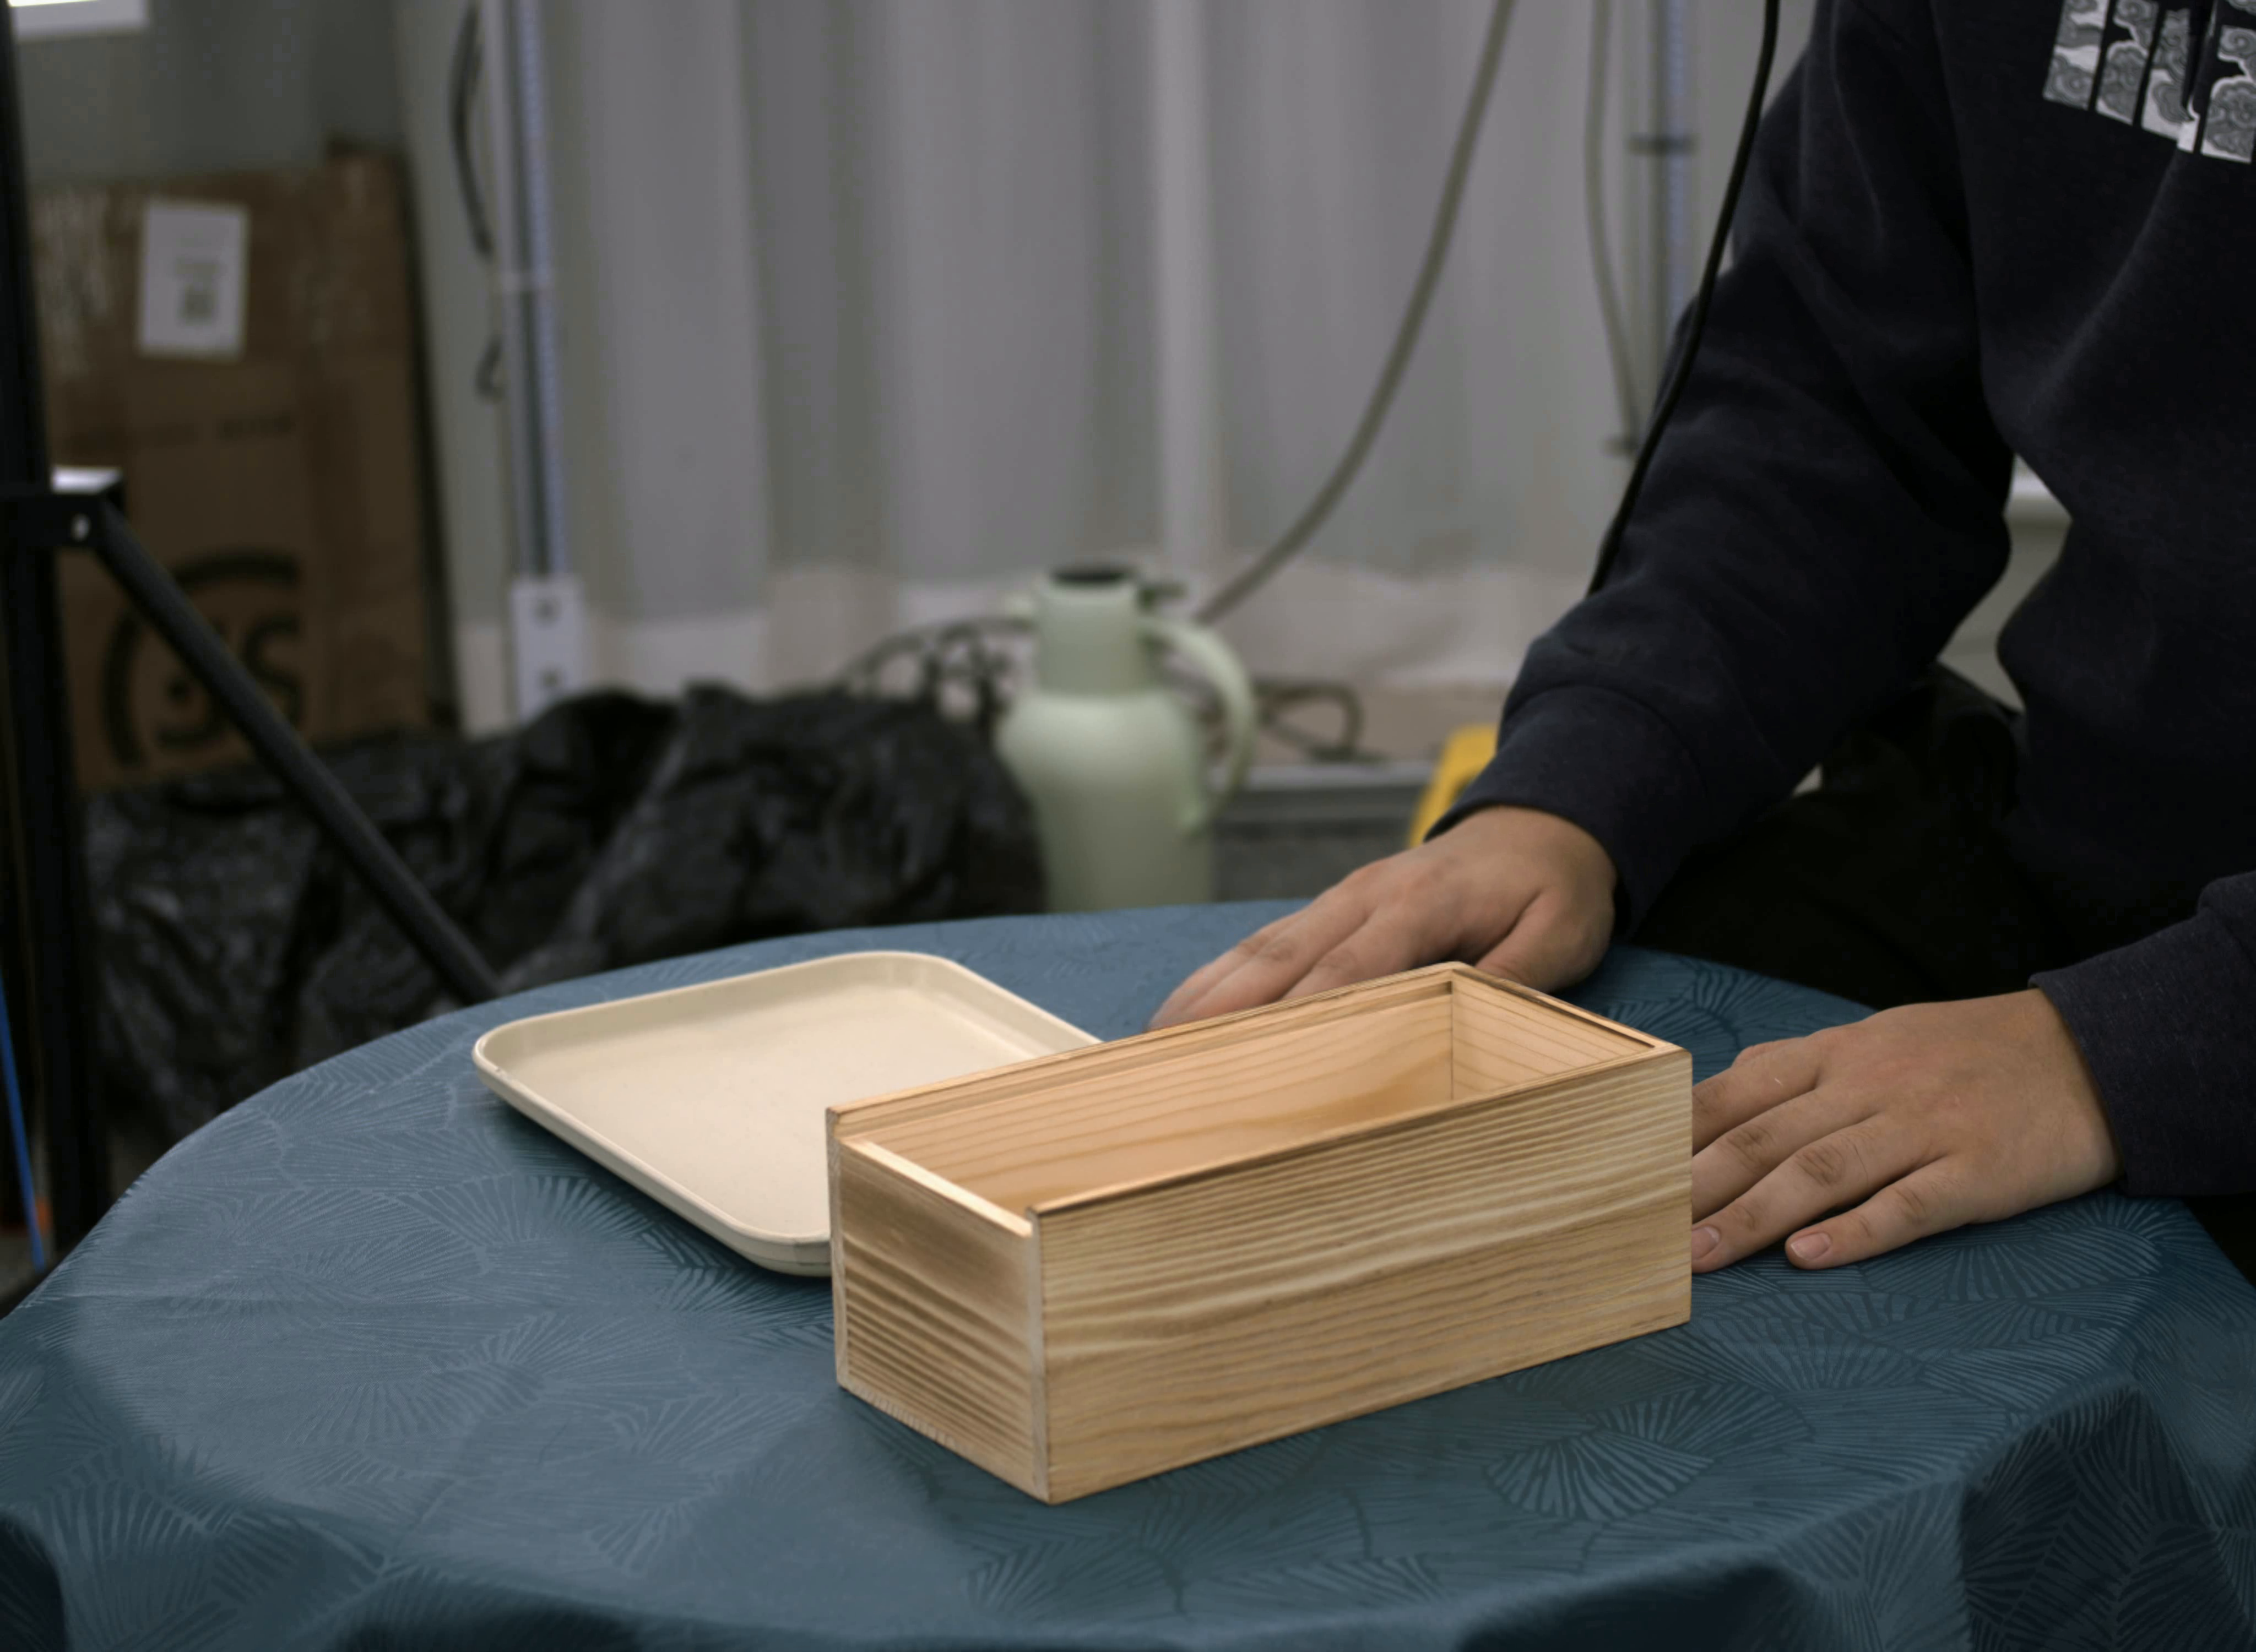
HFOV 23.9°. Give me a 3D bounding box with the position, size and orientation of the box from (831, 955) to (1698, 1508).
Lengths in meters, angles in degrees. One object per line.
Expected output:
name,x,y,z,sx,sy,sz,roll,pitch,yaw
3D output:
box,0.038,0.104,1.418,0.206,0.080,0.110,-12,19,-31

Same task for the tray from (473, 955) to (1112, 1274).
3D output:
tray,-0.082,0.086,1.614,0.167,0.017,0.245,-10,18,-28
